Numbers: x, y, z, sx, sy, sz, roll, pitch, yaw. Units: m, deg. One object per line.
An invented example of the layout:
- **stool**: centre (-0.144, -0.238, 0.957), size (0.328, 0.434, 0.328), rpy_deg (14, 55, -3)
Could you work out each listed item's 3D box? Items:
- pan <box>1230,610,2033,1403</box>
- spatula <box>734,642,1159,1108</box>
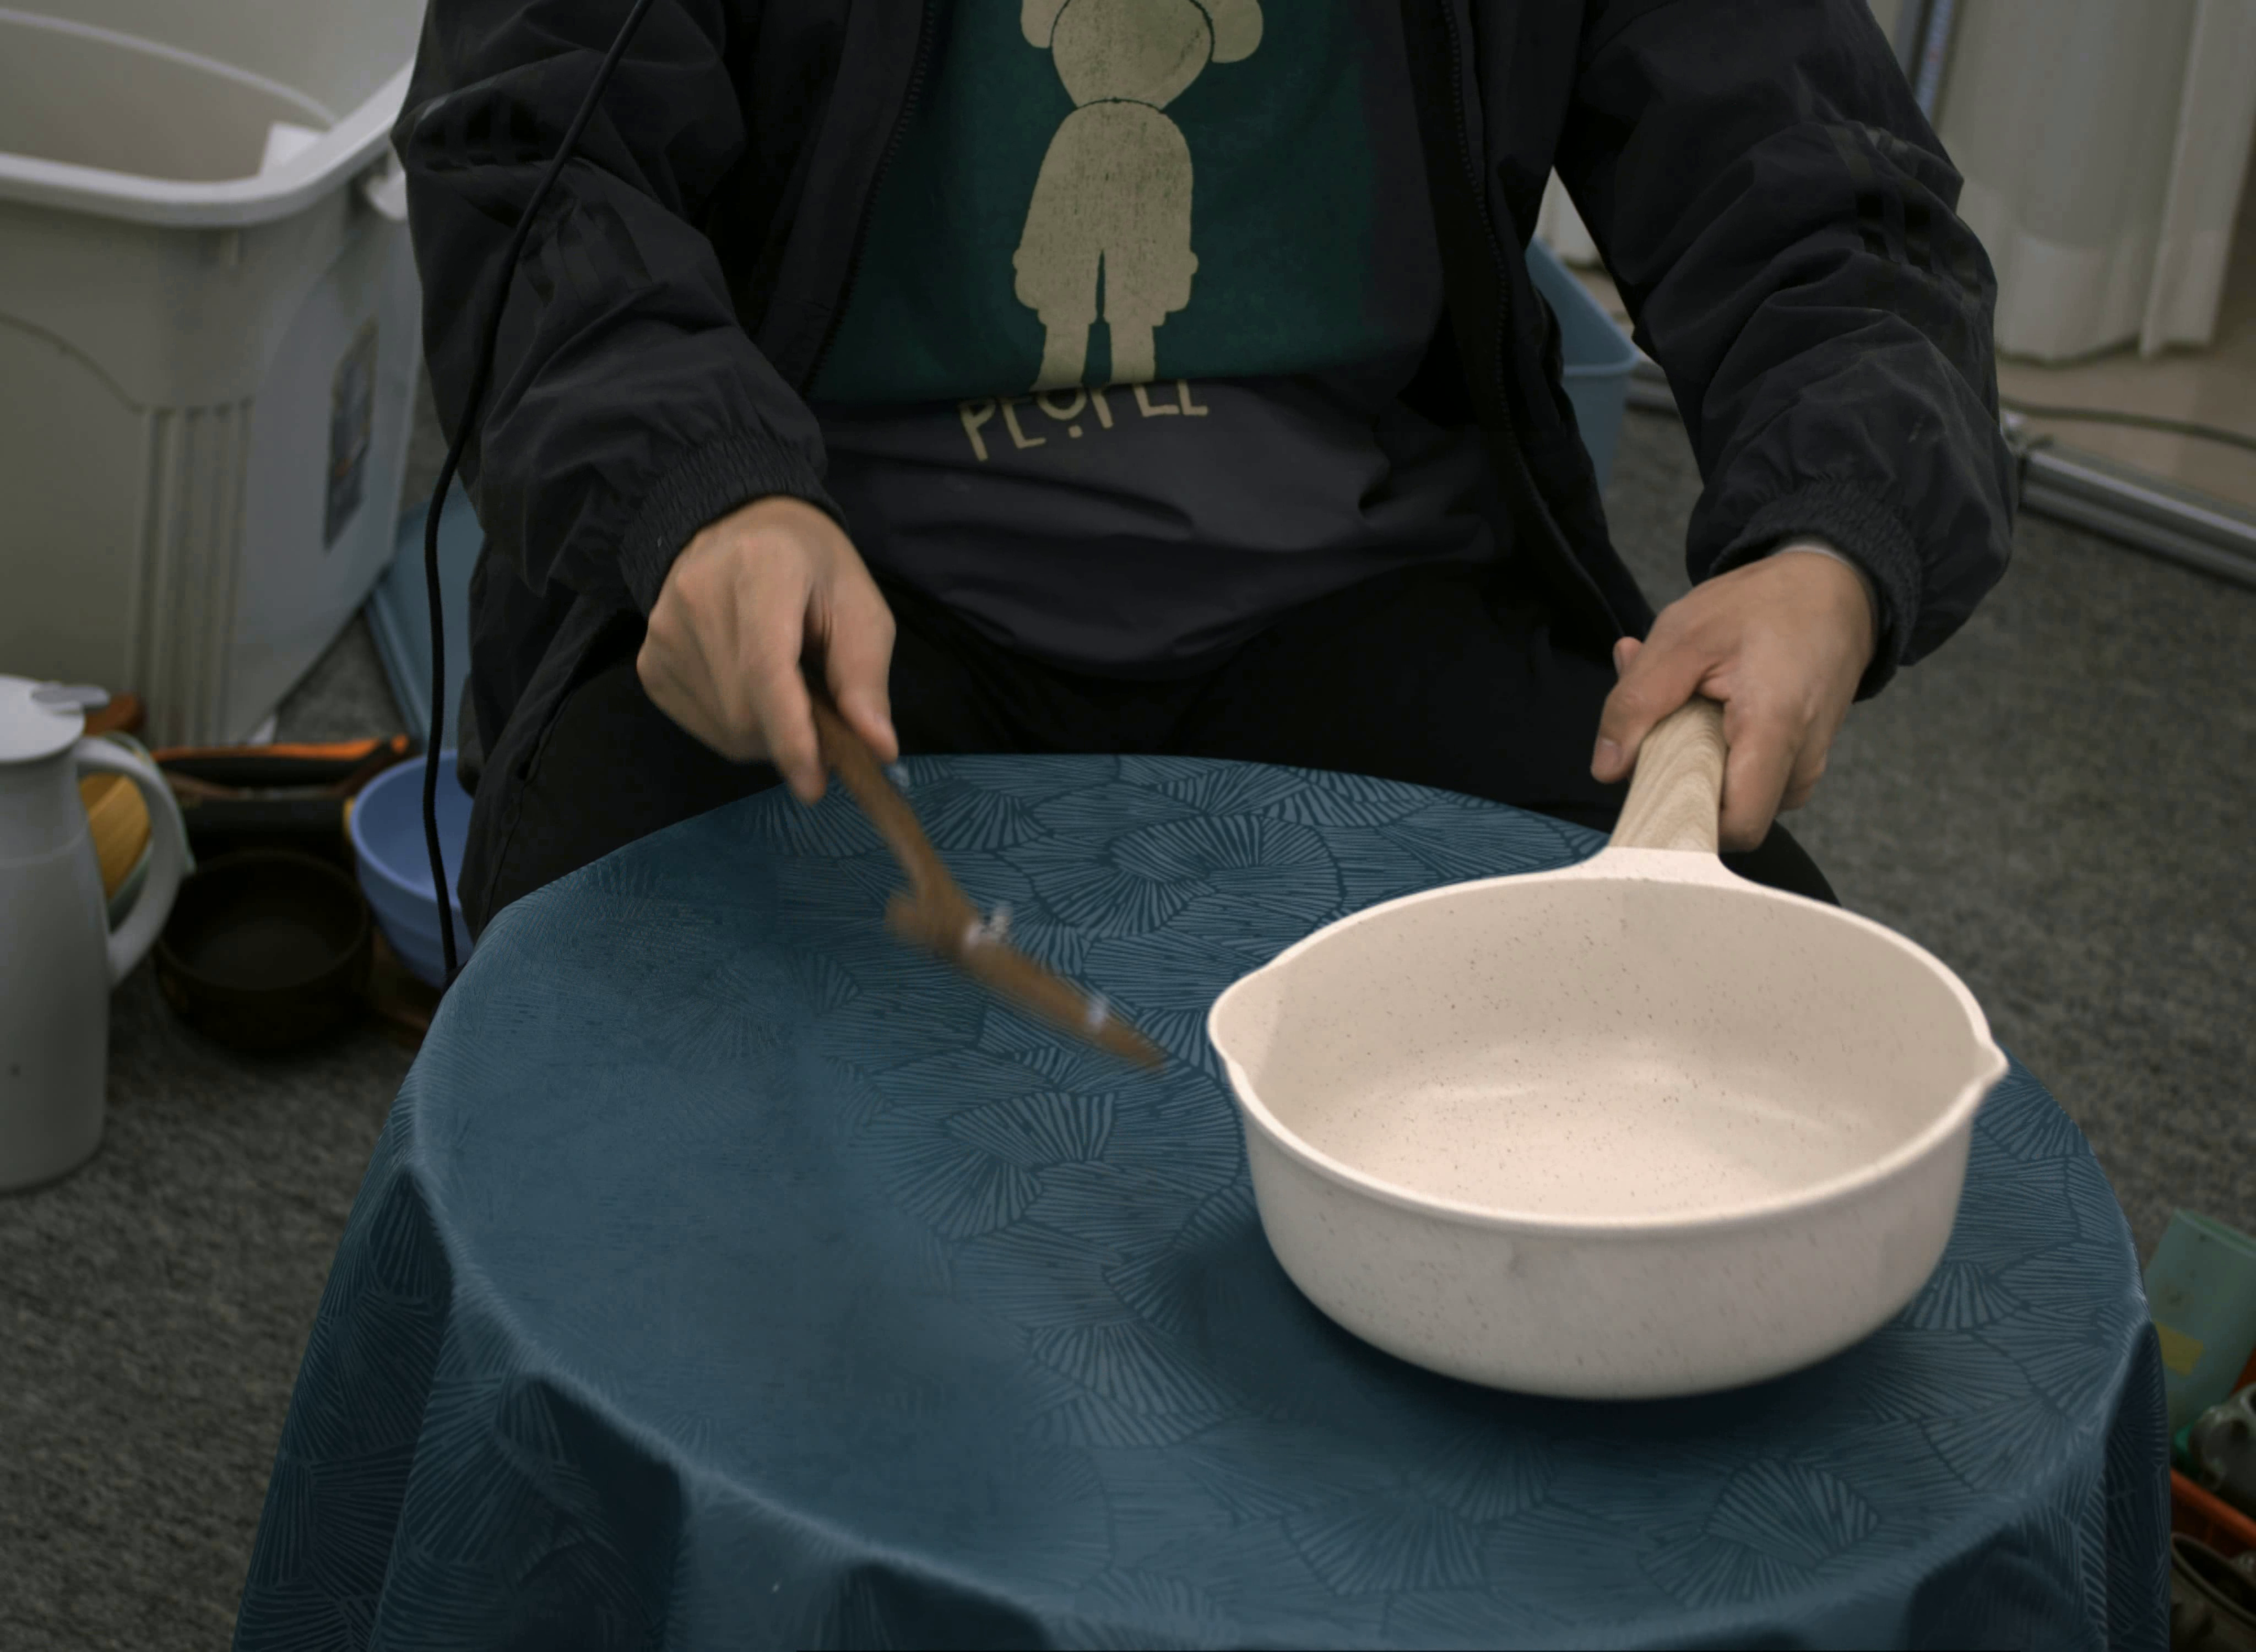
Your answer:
- **pan**: centre (0.184, 0.059, 1.835), size (0.263, 0.101, 0.436), rpy_deg (2, 26, 12)
- **spatula**: centre (-0.080, 0.006, 1.796), size (0.095, 0.016, 0.389), rpy_deg (26, 12, -25)
